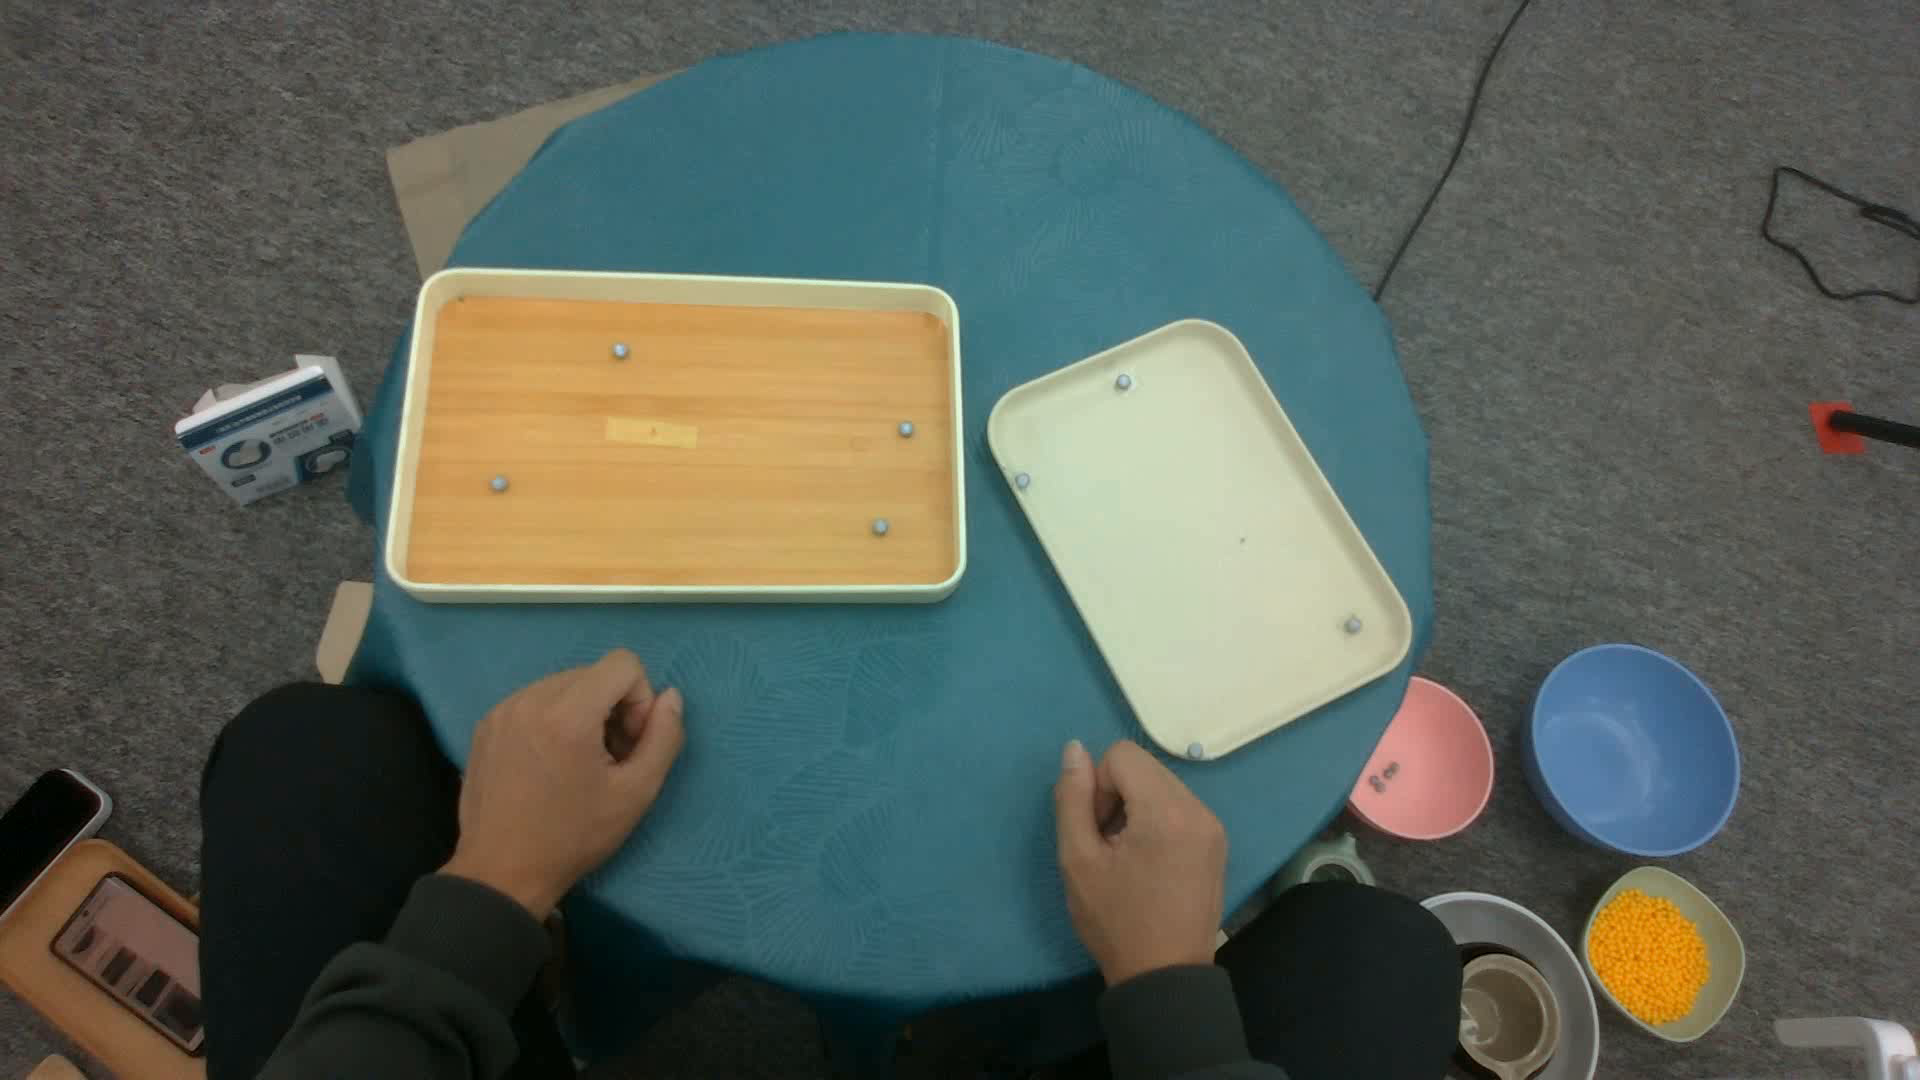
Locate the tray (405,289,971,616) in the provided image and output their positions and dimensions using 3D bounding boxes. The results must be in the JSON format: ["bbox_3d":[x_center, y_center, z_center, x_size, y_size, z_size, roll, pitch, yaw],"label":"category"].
[{"bbox_3d":[-0.147,-0.052,0.777,0.300,0.027,0.192,-1,69,-6],"label":"tray"}]

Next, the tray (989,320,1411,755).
[{"bbox_3d":[0.135,-0.007,0.792,0.171,0.017,0.240,-24,73,-15],"label":"tray"}]
